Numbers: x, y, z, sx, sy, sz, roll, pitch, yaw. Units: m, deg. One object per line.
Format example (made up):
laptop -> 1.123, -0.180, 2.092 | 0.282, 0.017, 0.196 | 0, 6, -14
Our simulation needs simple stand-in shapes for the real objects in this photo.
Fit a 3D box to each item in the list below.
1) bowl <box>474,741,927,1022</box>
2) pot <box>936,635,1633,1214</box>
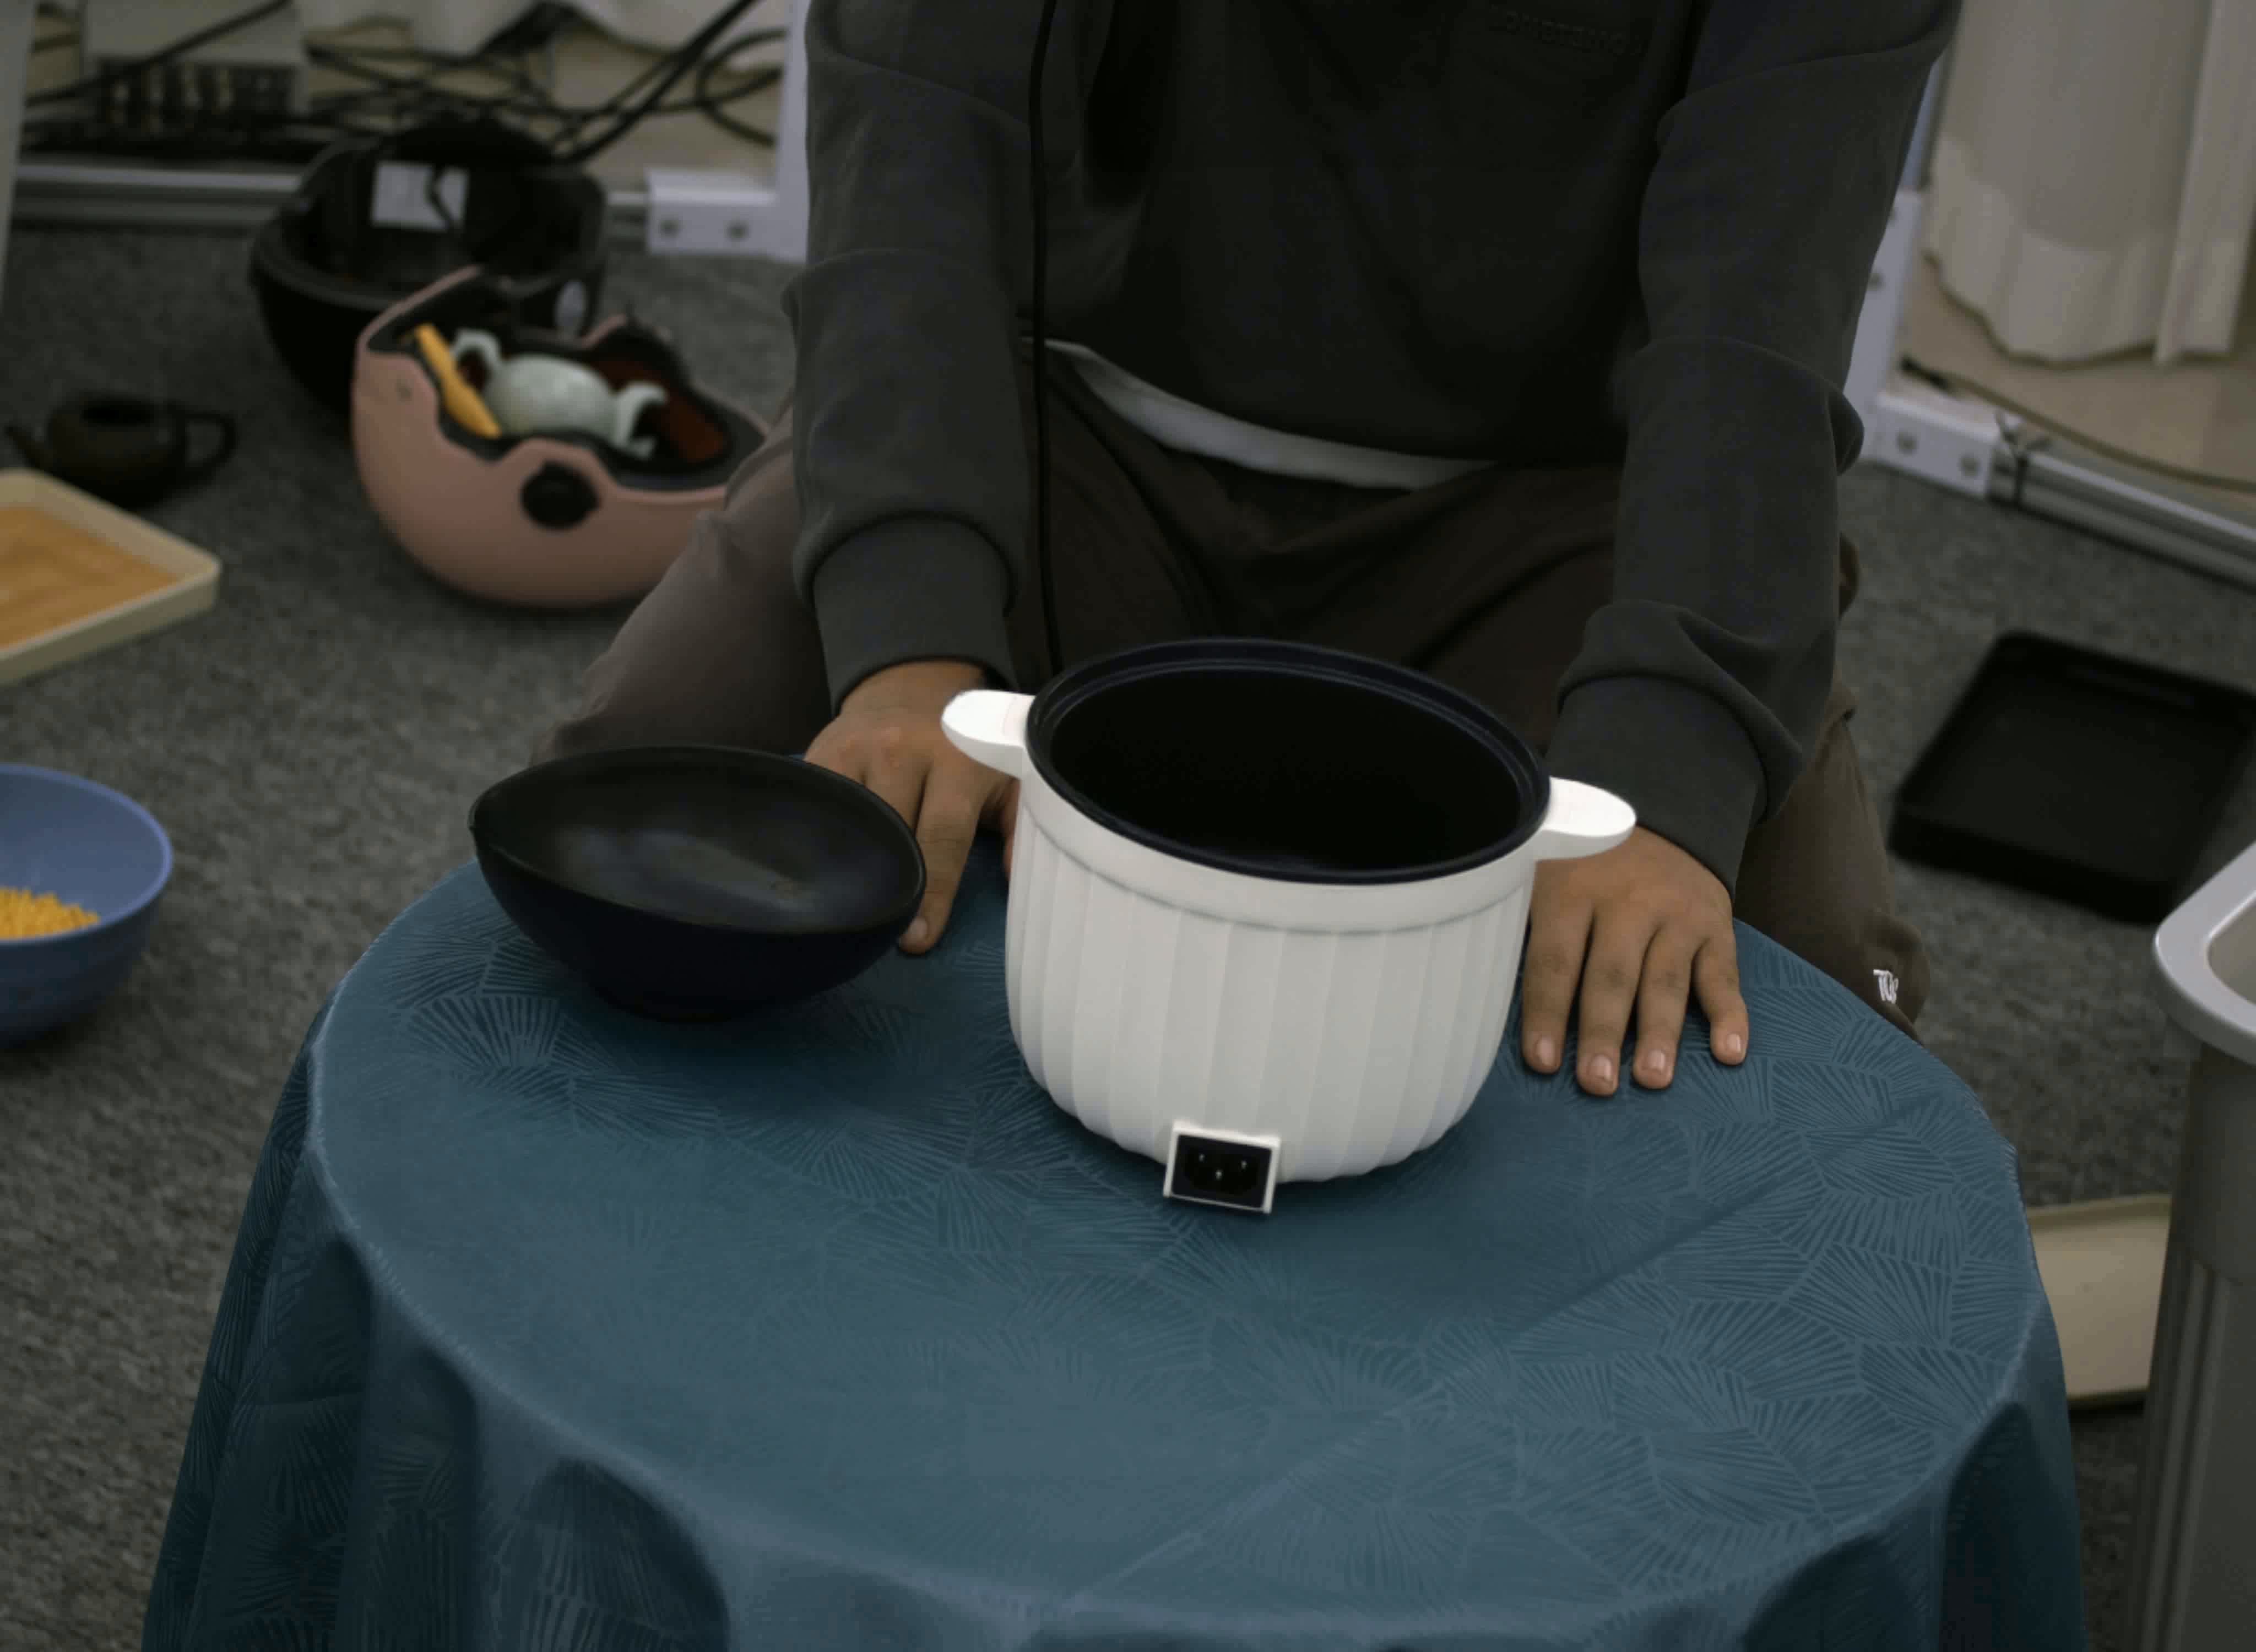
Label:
bowl -> -0.155, 0.027, 1.889 | 0.171, 0.066, 0.137 | 15, 27, 19
pot -> 0.046, 0.031, 1.848 | 0.240, 0.142, 0.191 | 9, 29, 2
